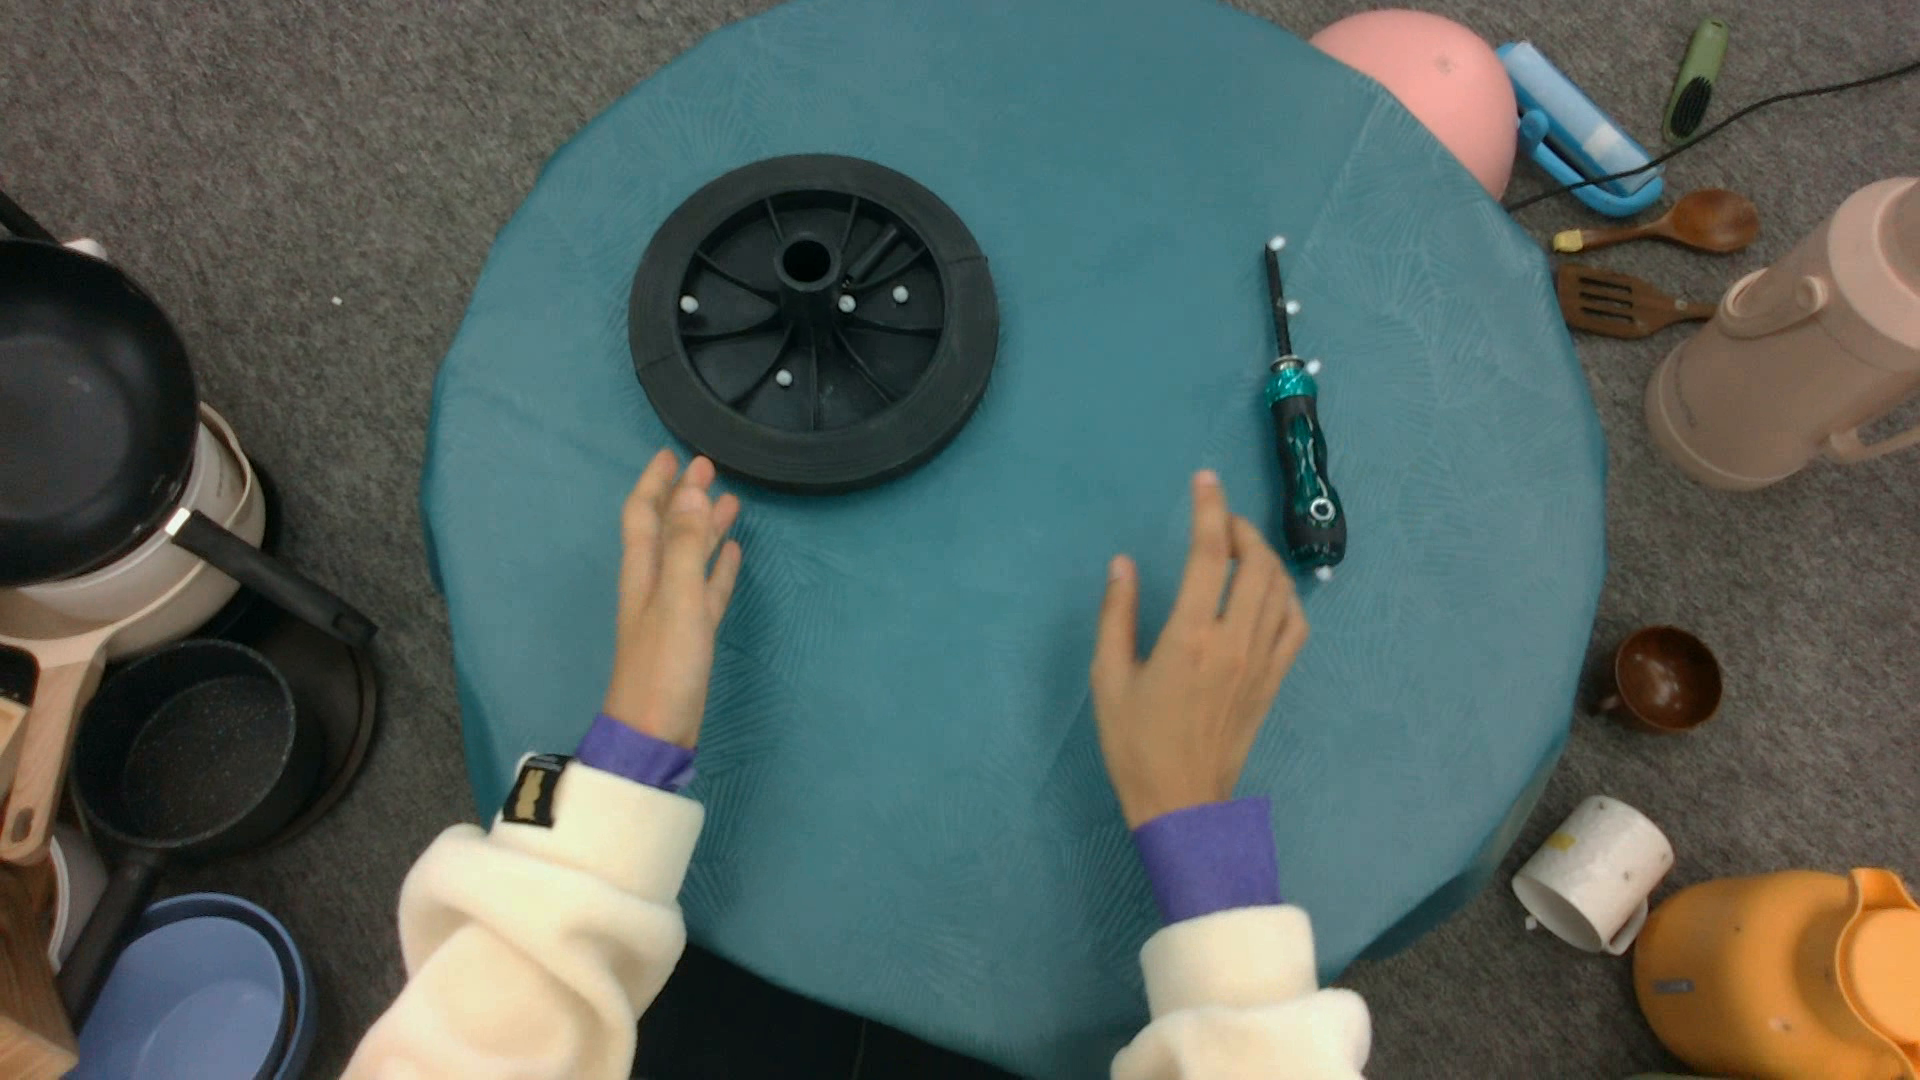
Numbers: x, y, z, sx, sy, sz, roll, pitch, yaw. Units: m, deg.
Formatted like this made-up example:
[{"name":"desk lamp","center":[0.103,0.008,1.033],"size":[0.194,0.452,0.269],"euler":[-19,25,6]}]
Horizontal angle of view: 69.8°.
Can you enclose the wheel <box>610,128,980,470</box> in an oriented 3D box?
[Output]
[{"name":"wheel","center":[-0.082,-0.133,0.684],"size":[0.187,0.079,0.190],"euler":[14,70,1]}]

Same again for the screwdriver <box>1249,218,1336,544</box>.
[{"name":"screwdriver","center":[0.165,-0.087,0.711],"size":[0.034,0.033,0.190],"euler":[-2,66,-4]}]
